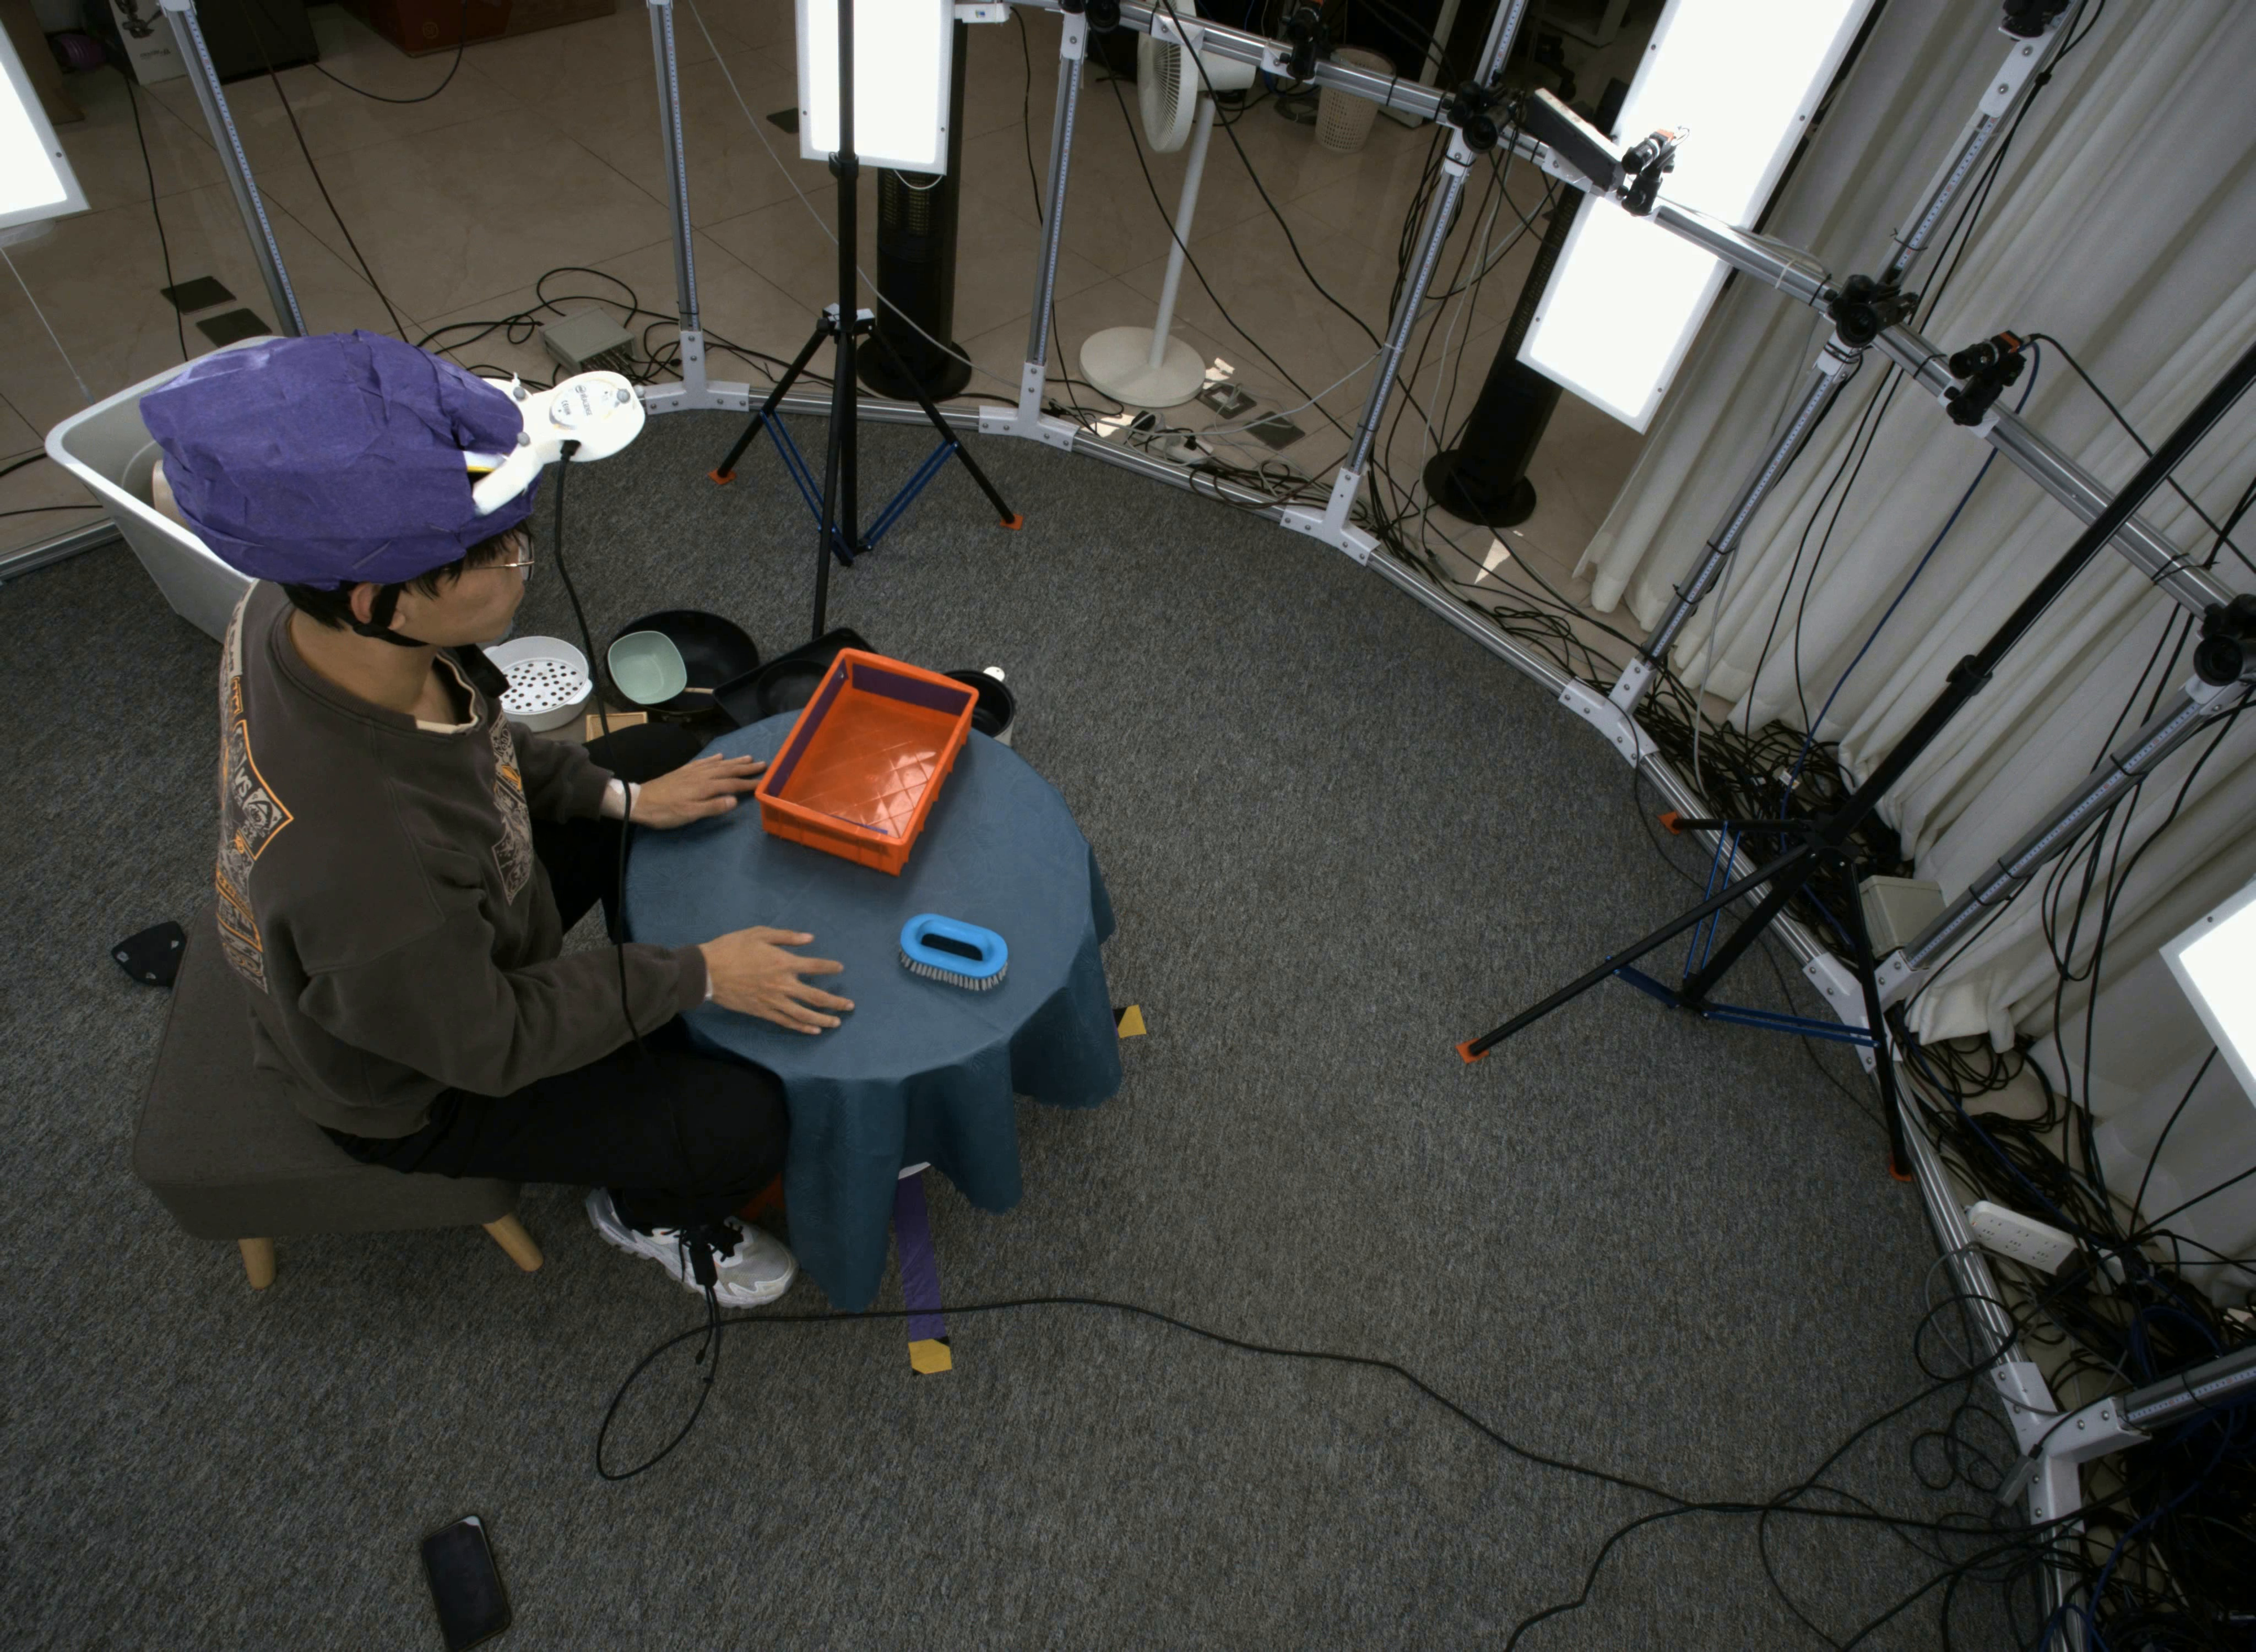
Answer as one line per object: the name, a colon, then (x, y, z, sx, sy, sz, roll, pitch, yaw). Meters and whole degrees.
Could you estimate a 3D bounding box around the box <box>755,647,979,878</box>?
box: (-0.348, -0.084, 1.764, 0.204, 0.098, 0.300, 19, 52, 1)

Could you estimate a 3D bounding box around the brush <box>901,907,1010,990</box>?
brush: (-0.219, 0.144, 1.640, 0.140, 0.065, 0.083, 17, 56, 1)
